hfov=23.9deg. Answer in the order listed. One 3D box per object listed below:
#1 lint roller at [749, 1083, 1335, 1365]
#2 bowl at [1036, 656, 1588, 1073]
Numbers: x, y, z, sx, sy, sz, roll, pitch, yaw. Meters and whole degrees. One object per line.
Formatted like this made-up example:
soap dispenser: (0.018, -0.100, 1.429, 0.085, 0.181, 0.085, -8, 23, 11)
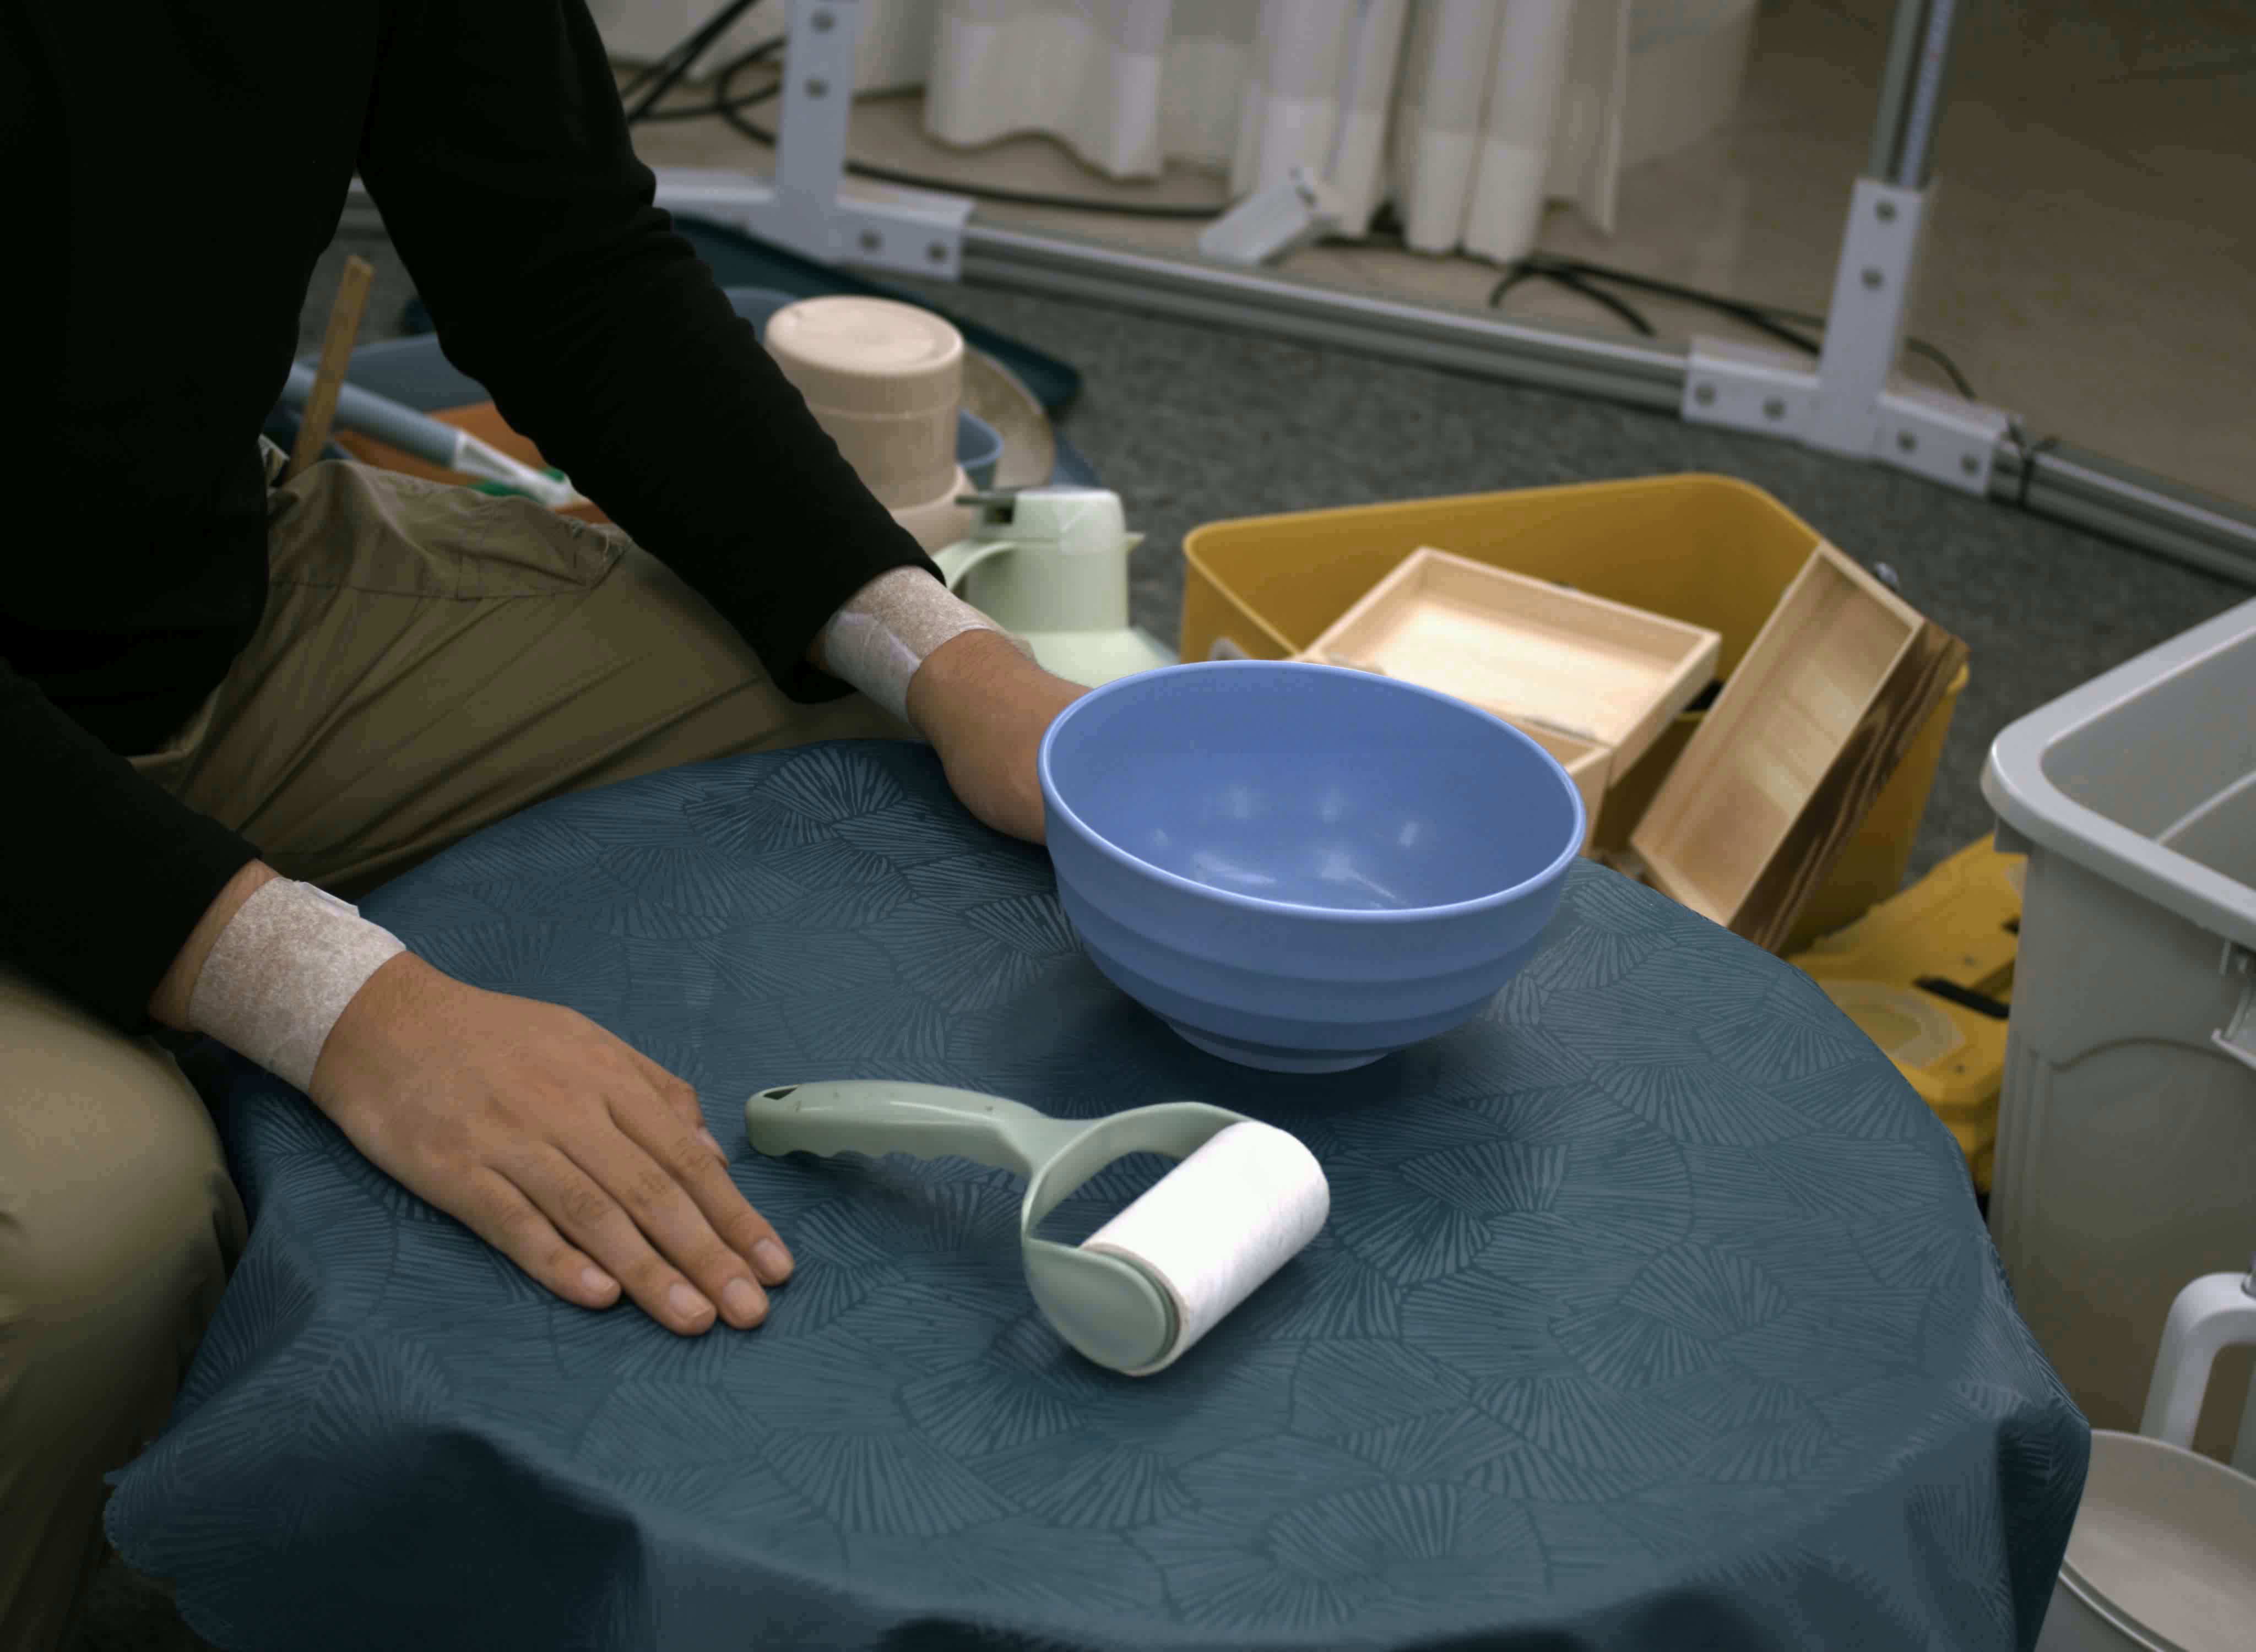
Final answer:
lint roller: (-0.038, 0.113, 1.767, 0.198, 0.048, 0.116, 18, 31, 24)
bowl: (0.061, 0.024, 1.904, 0.196, 0.095, 0.198, 5, 28, -3)
